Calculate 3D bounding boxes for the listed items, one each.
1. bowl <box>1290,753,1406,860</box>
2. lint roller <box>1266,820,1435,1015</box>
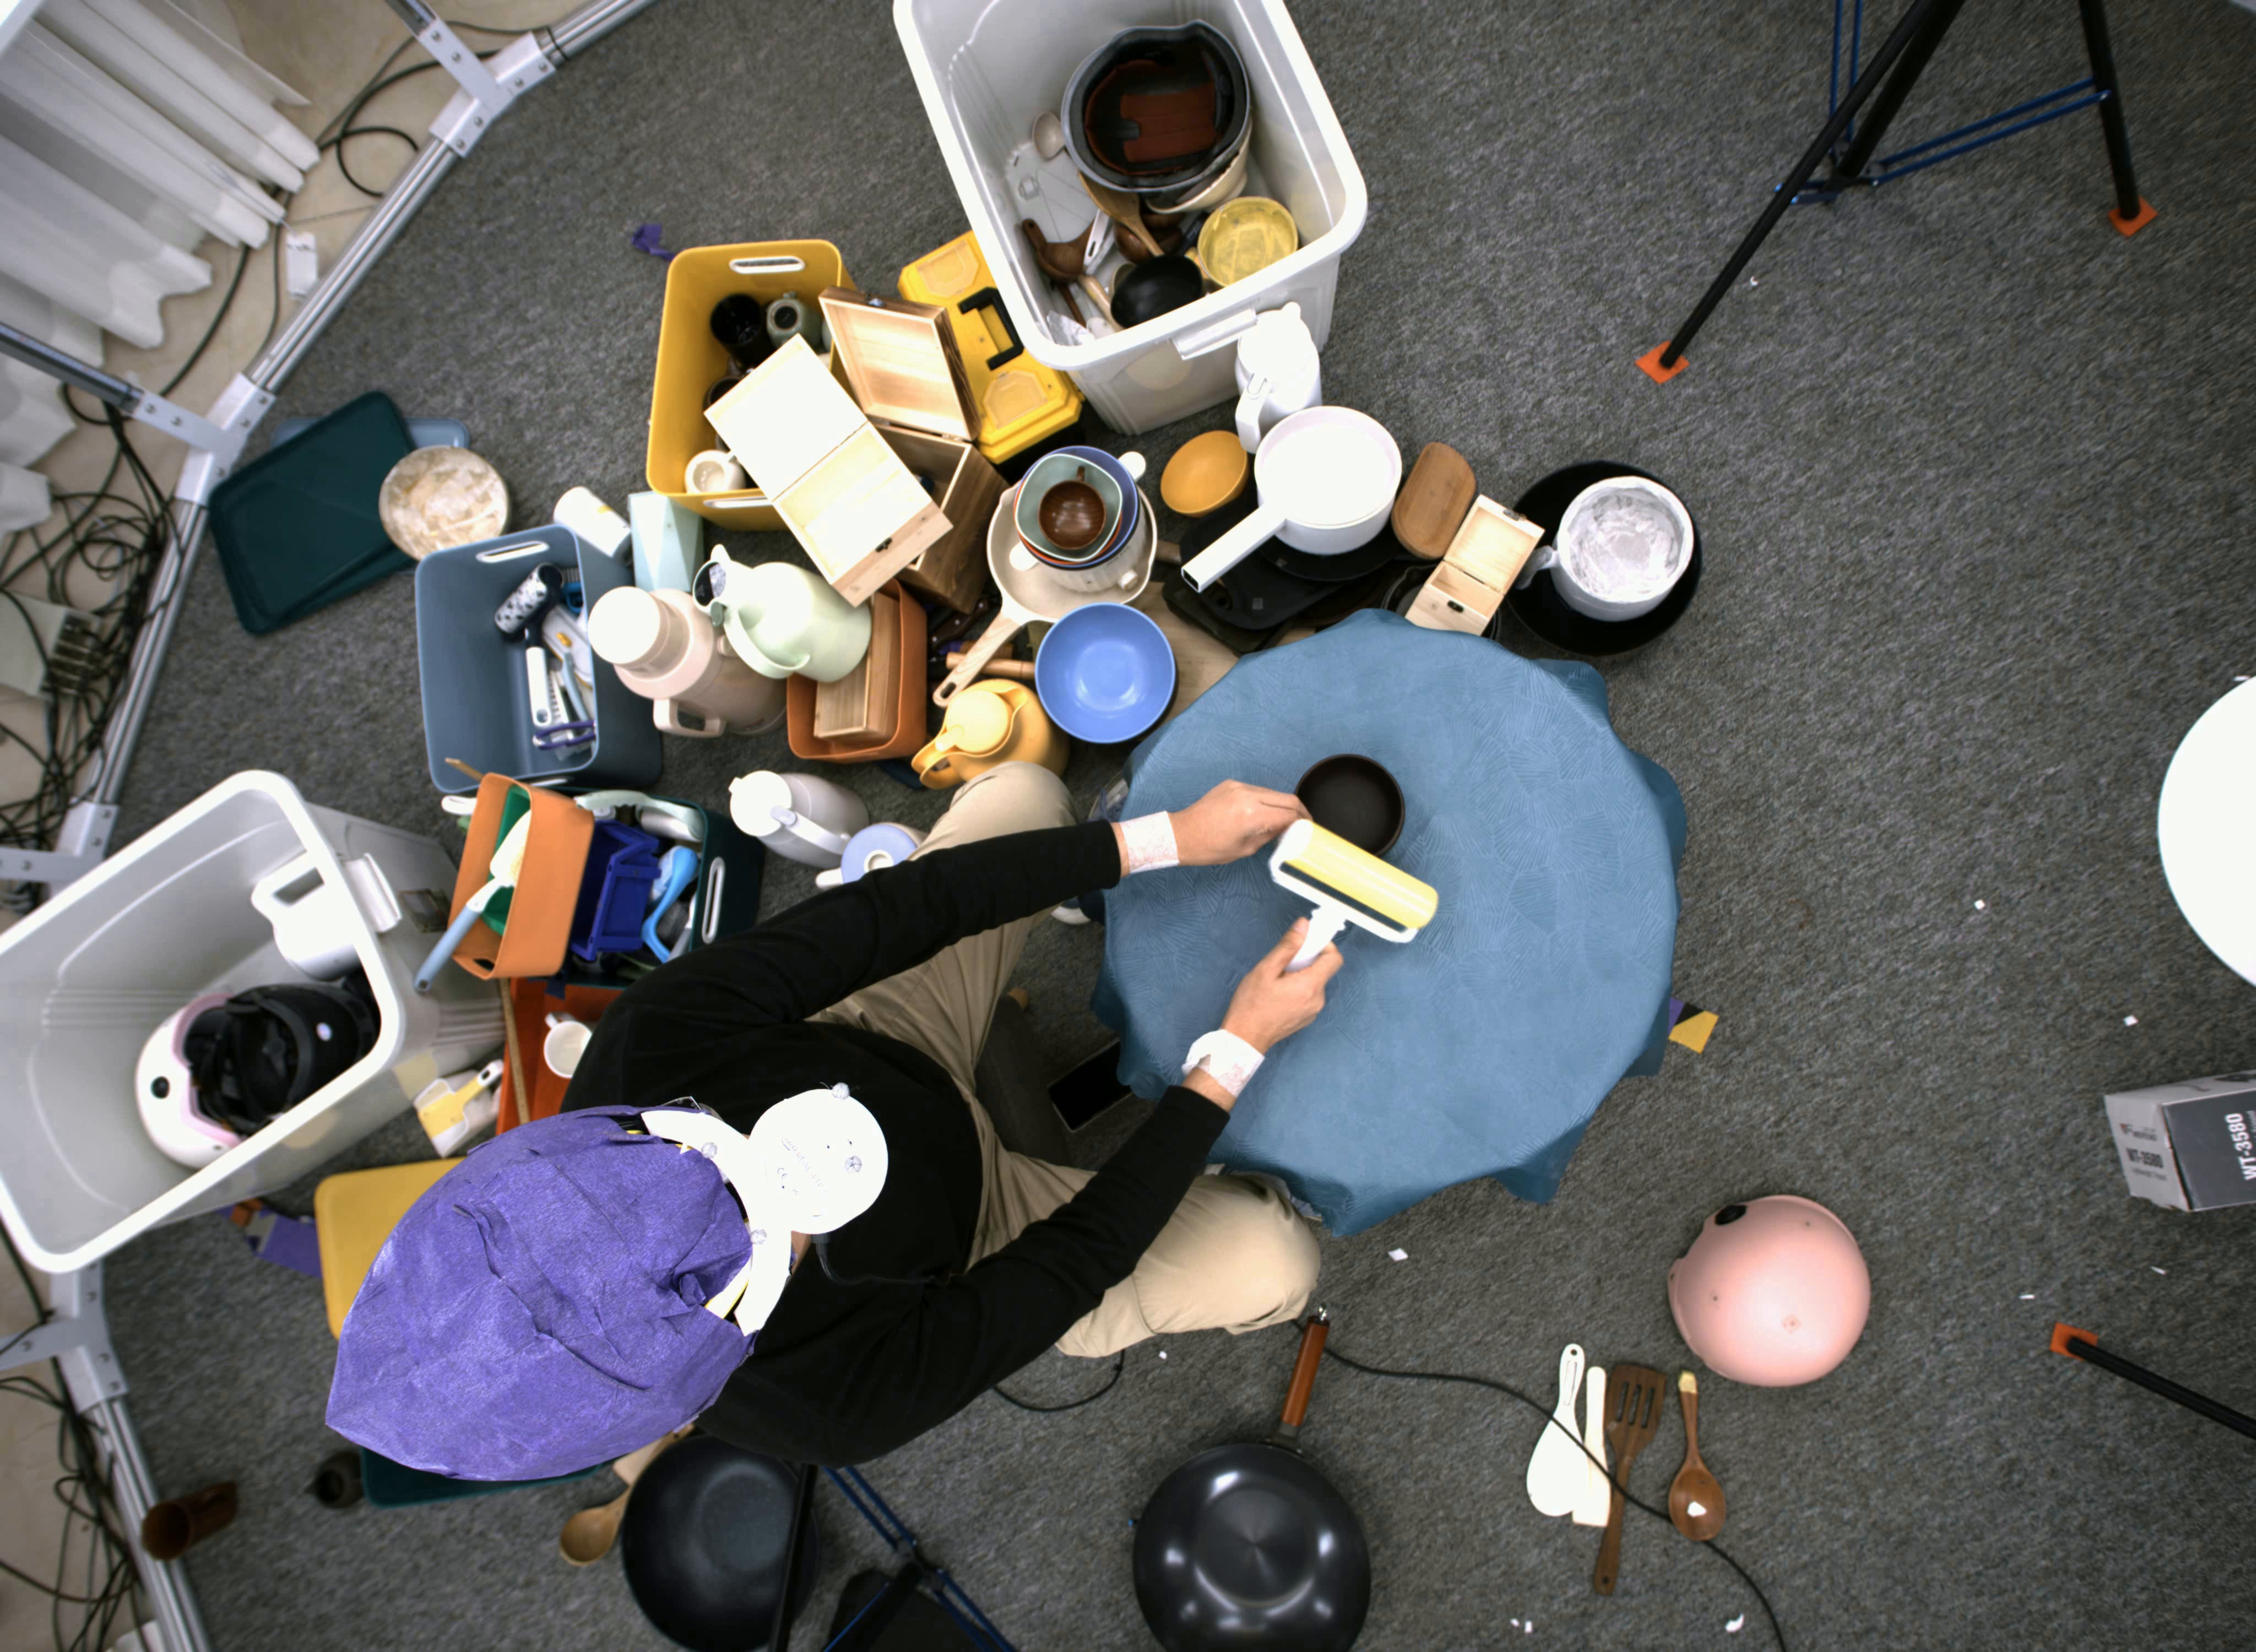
[{"bbox_3d":[0.229,-0.014,1.434,0.118,0.070,0.117,-1,85,10],"label":"bowl"},{"bbox_3d":[0.195,0.109,1.389,0.175,0.051,0.193,23,100,-17],"label":"lint roller"}]
